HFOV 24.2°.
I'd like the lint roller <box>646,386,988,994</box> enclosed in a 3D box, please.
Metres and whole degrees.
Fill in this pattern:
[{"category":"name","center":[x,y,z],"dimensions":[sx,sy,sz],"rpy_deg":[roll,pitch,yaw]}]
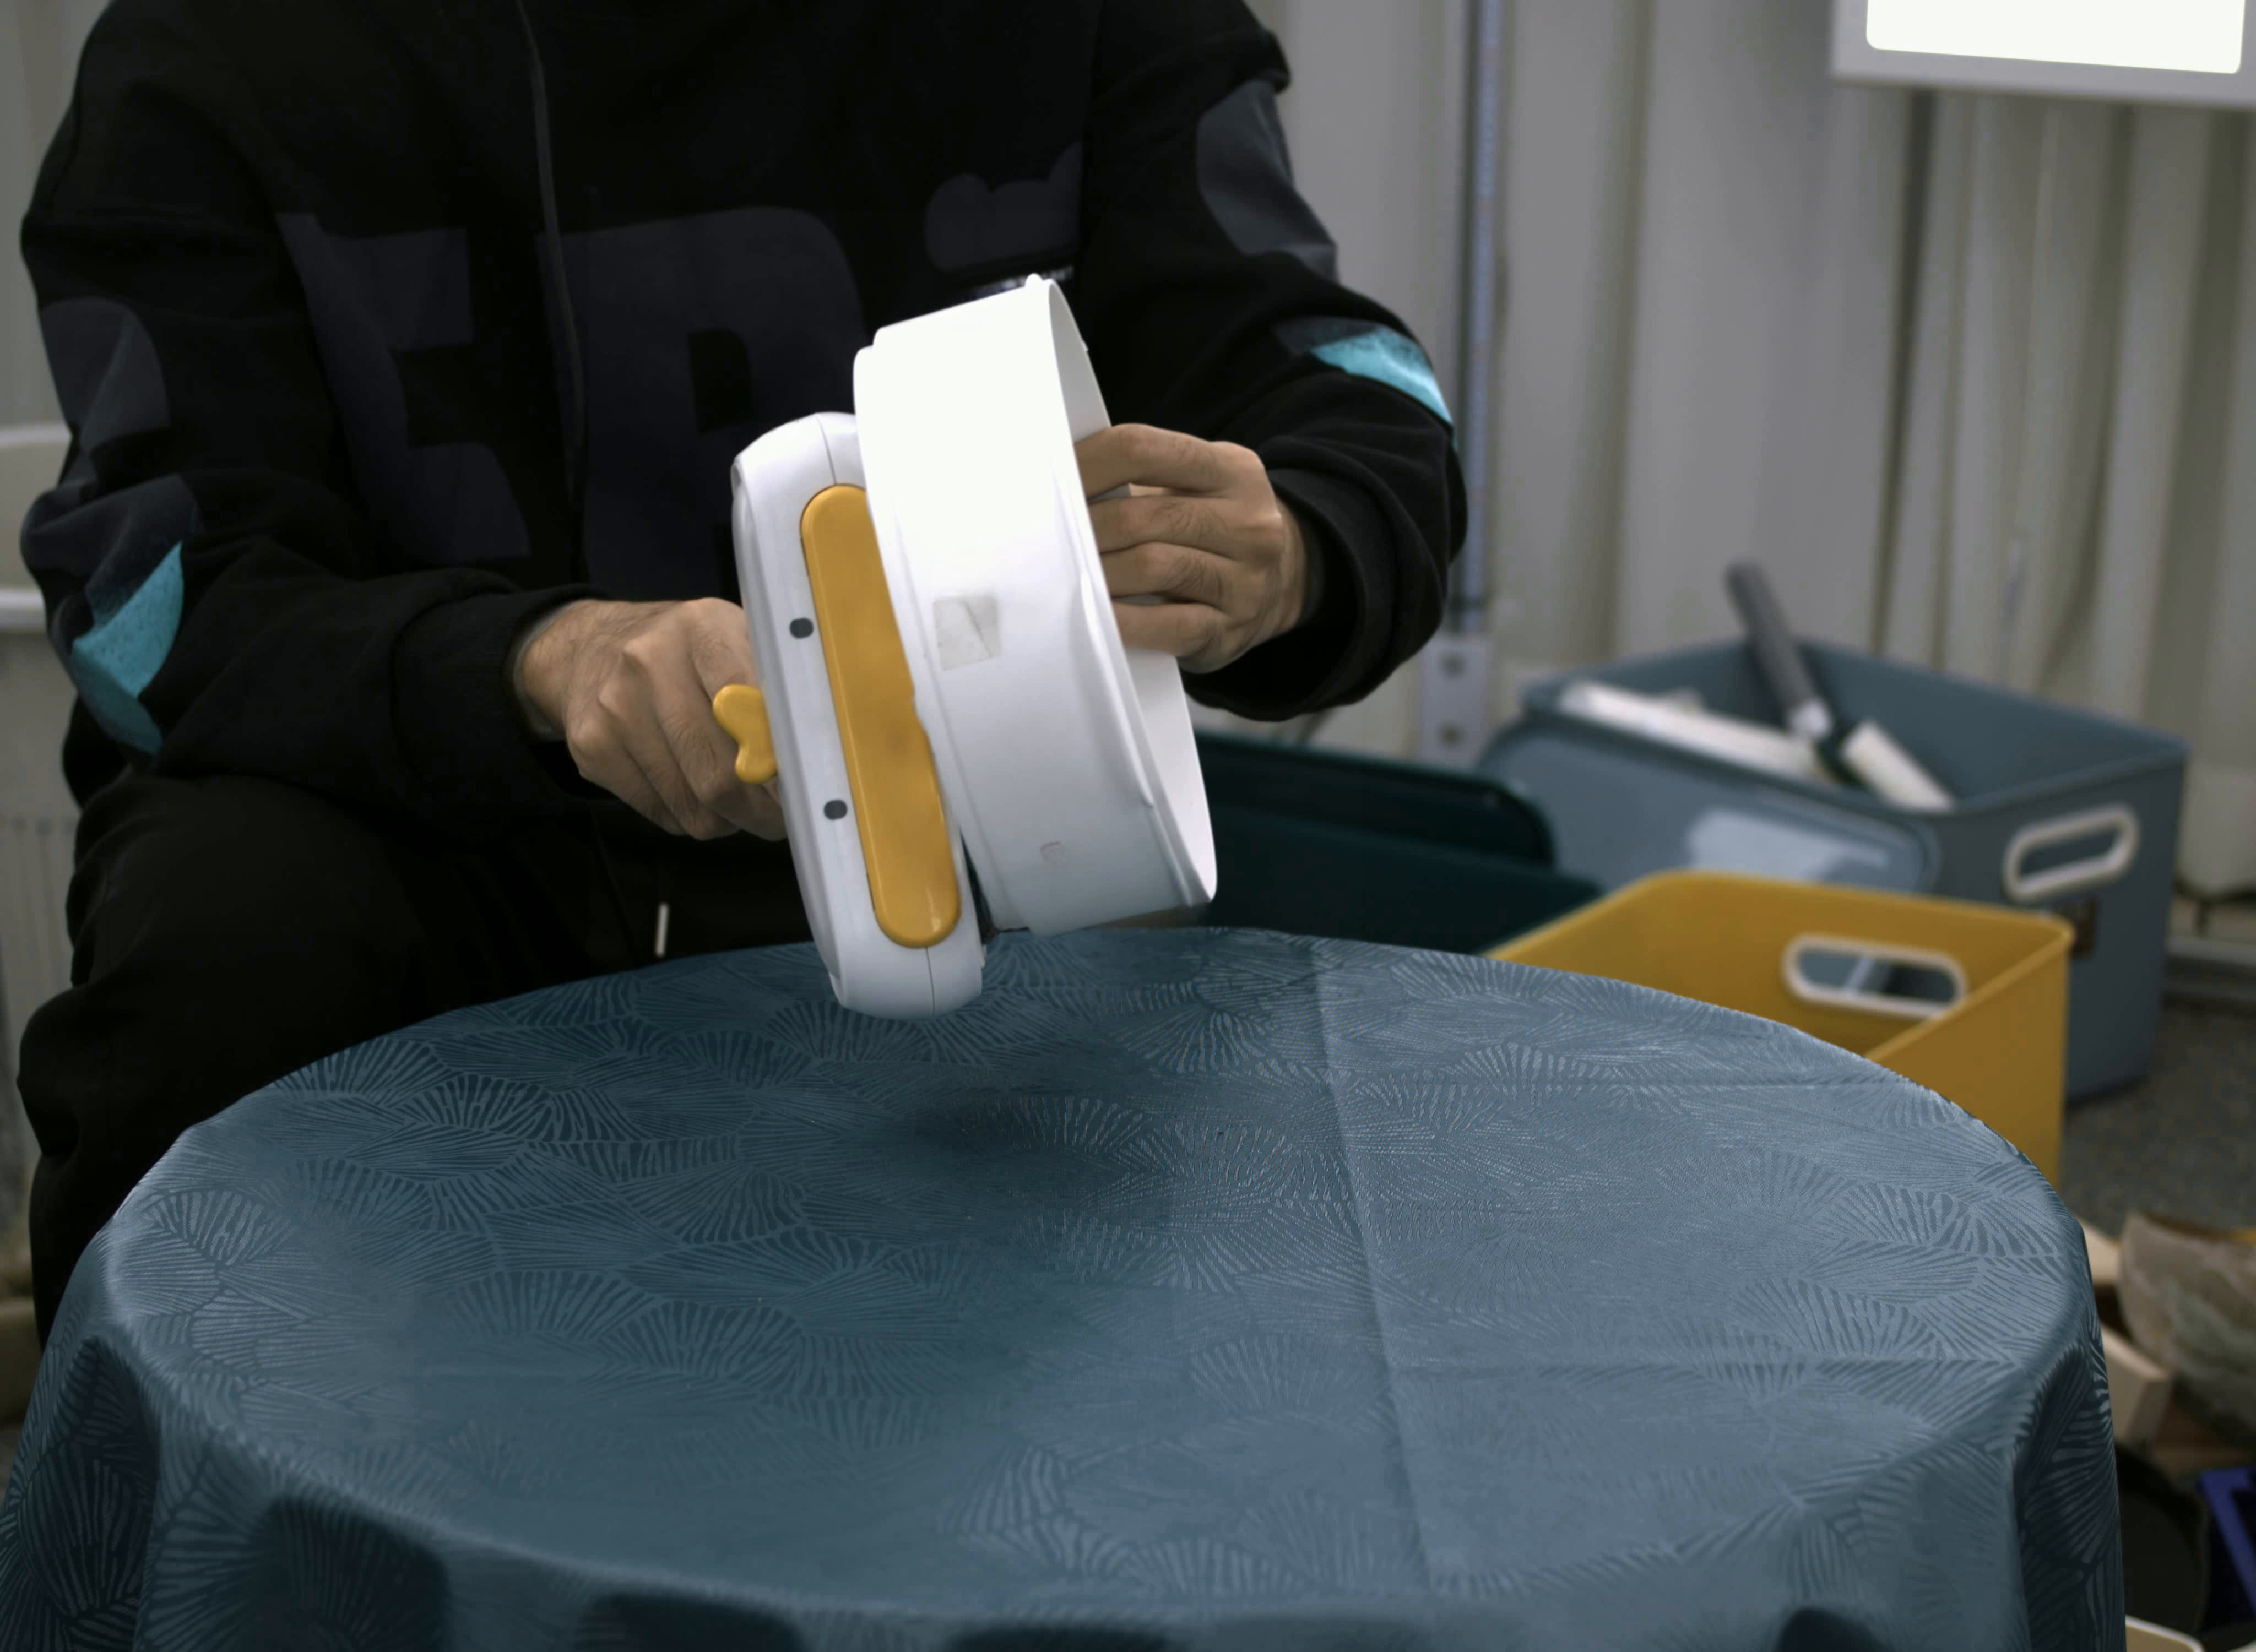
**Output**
[{"category":"lint roller","center":[-0.109,-0.035,1.704],"dimensions":[0.074,0.193,0.191],"rpy_deg":[-17,1,-17]}]

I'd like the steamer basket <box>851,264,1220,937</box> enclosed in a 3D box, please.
[{"category":"steamer basket","center":[-0.029,-0.065,1.602],"dimensions":[0.069,0.204,0.229],"rpy_deg":[-15,20,5]}]
